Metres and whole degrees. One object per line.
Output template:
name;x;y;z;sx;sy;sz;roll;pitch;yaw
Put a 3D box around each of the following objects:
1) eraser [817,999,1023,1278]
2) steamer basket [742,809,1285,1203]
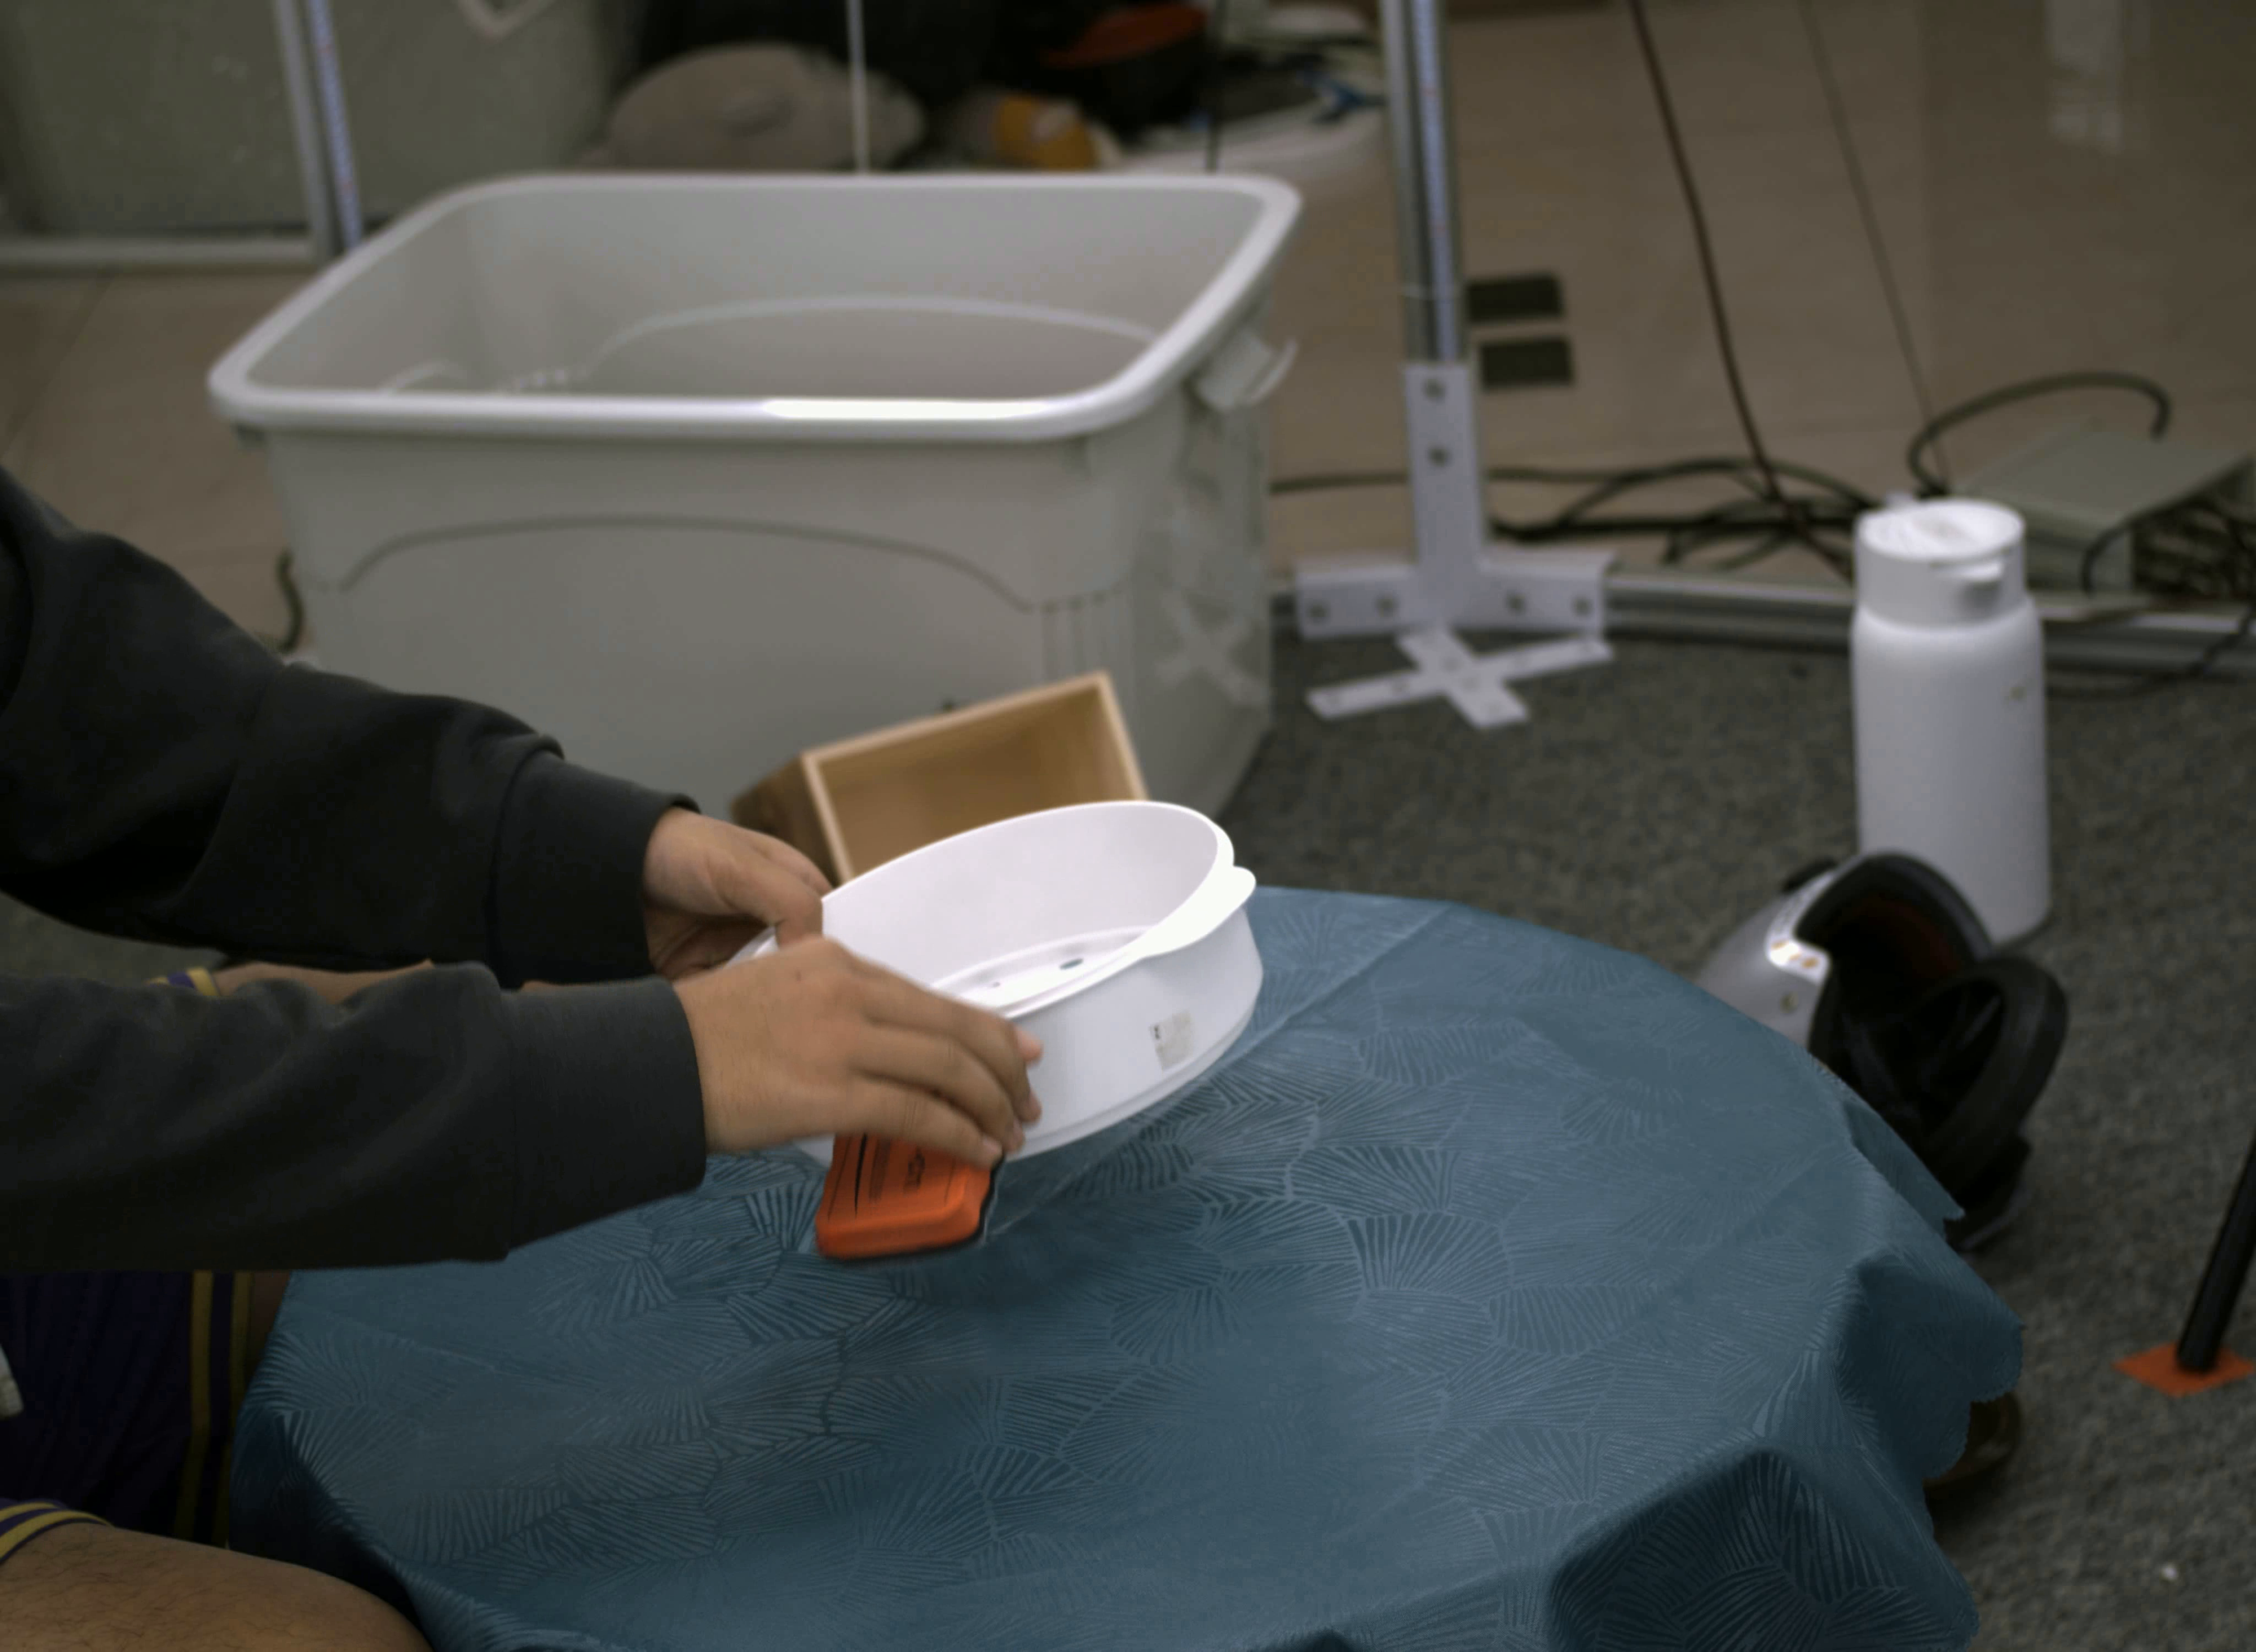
eraser;-0.073;0.109;2.000;0.059;0.023;0.106;-14;40;24
steamer basket;-0.038;0.071;2.158;0.231;0.070;0.199;-8;26;35
